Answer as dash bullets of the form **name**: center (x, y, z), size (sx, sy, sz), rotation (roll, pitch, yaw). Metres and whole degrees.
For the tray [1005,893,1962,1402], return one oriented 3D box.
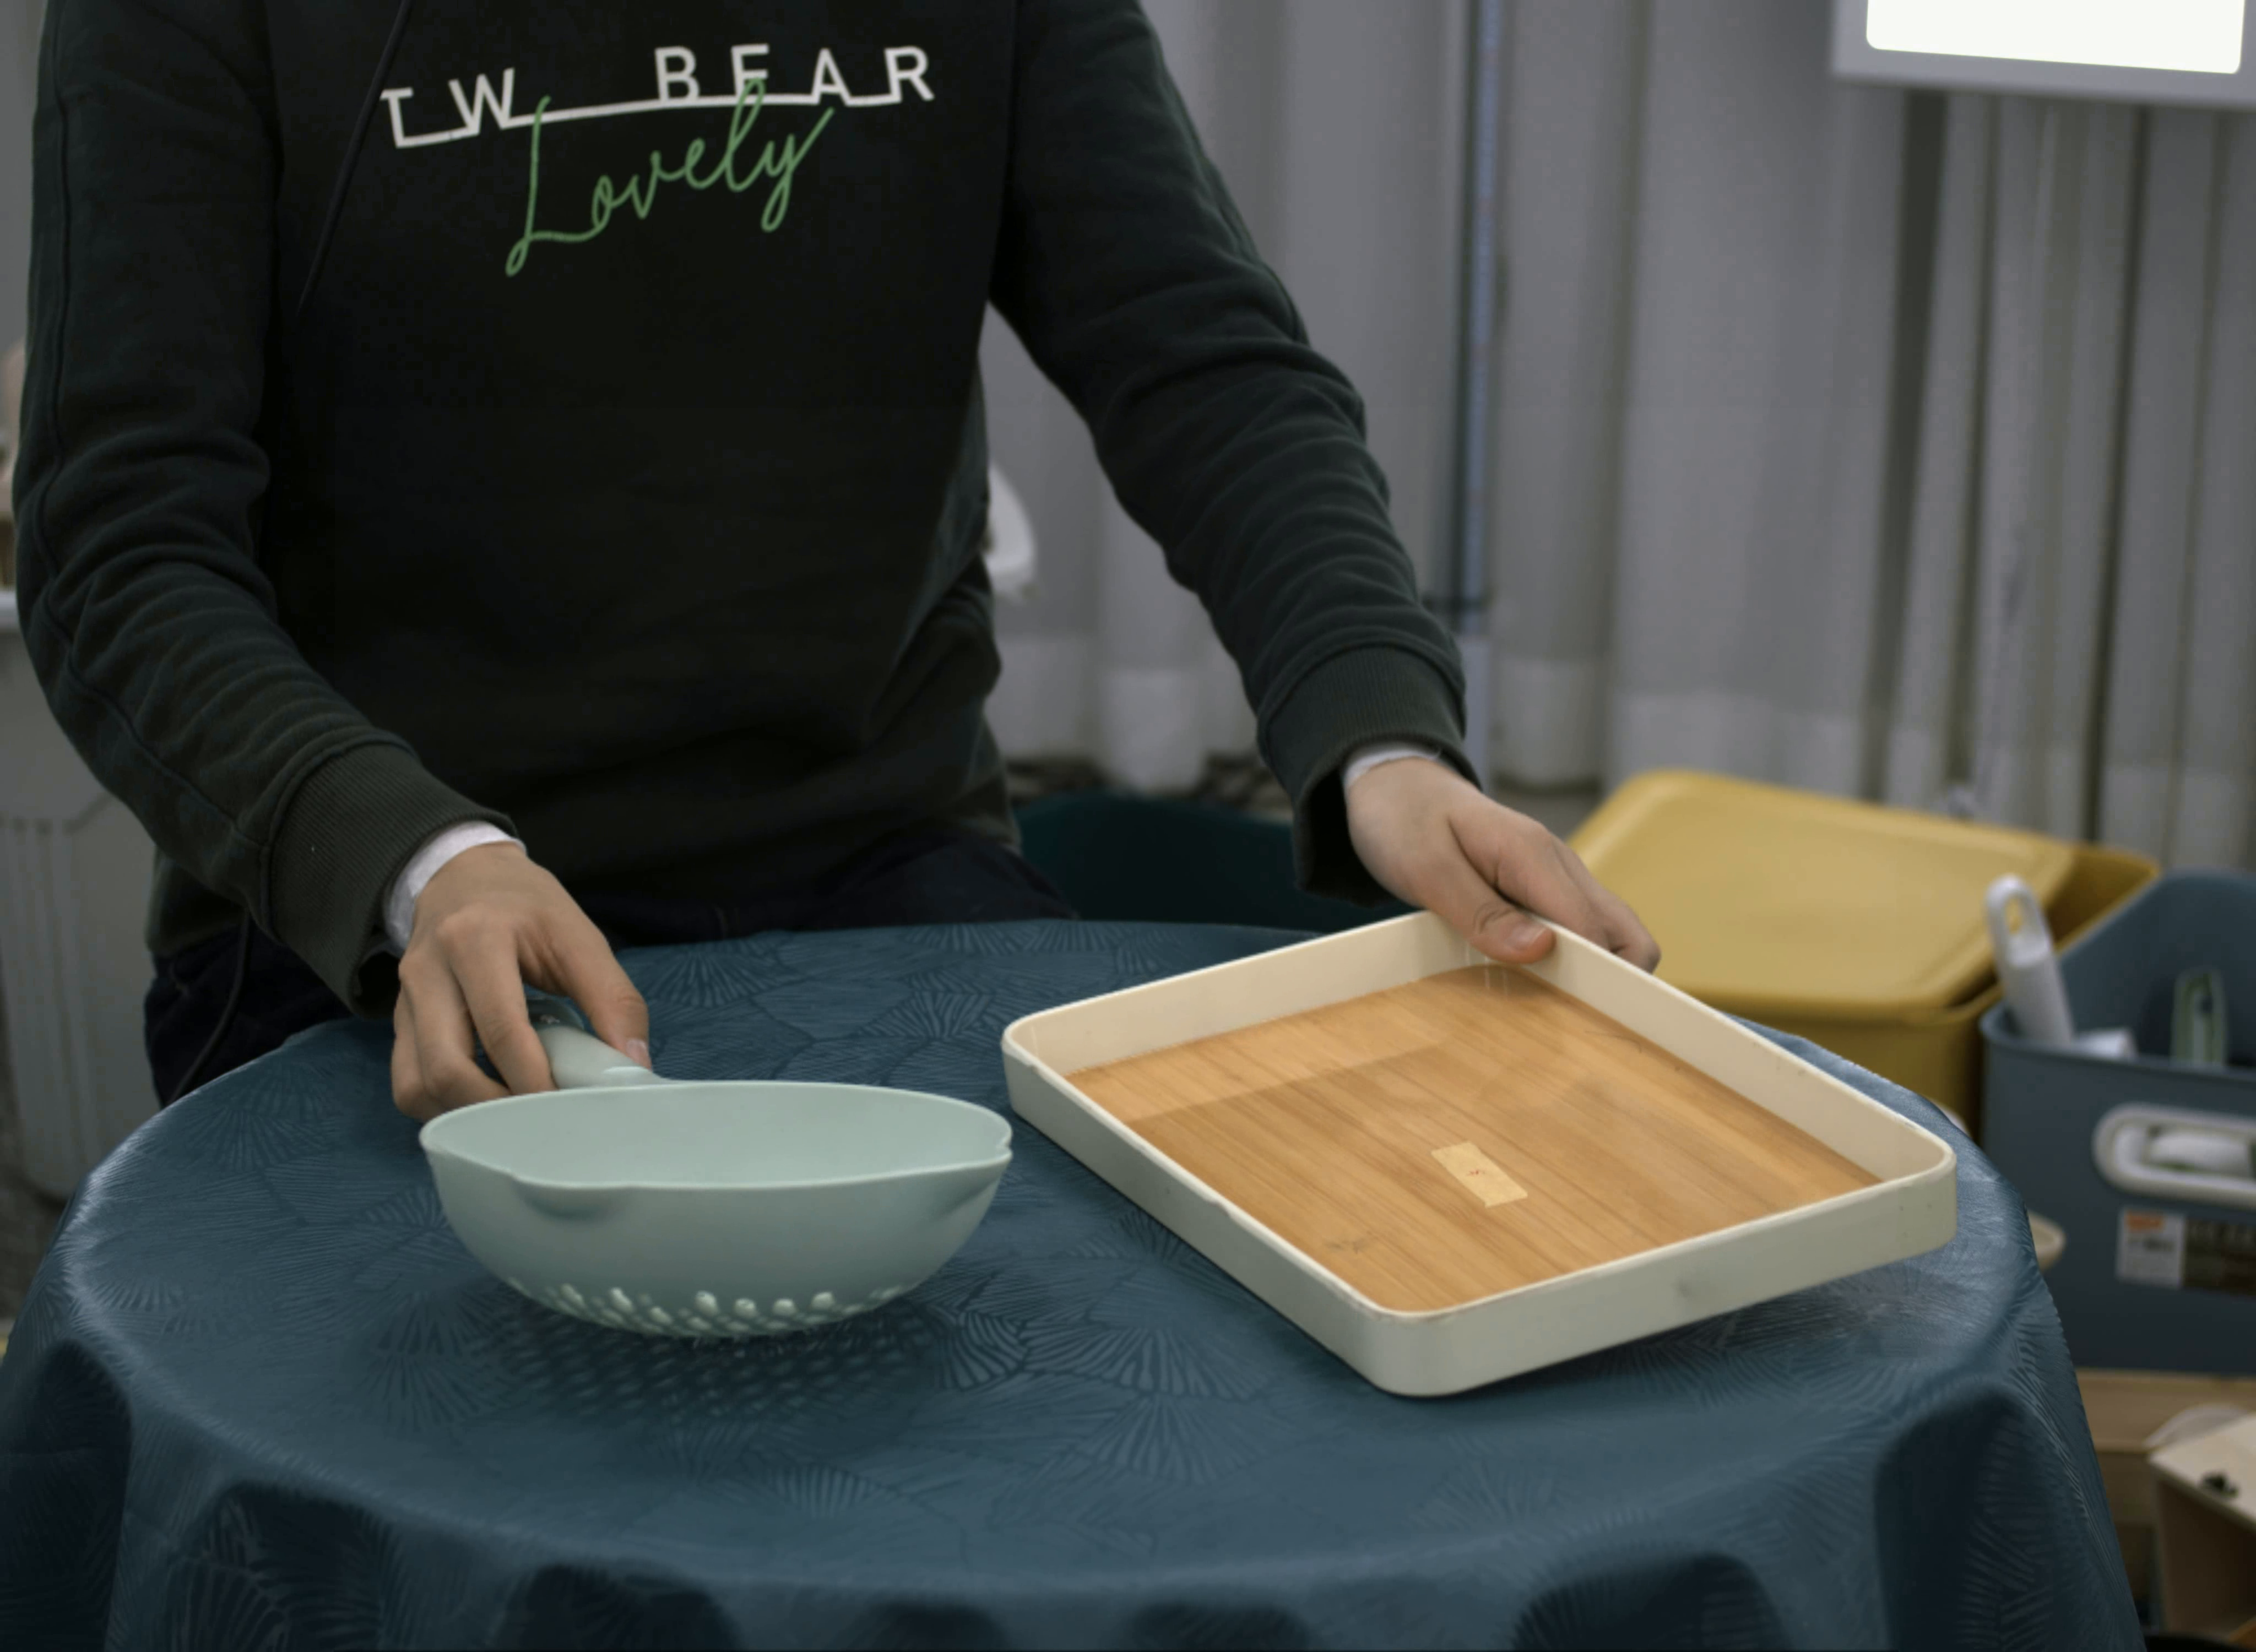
- **tray**: center (0.101, 0.092, 1.611), size (0.192, 0.027, 0.296), rotation (-14, 21, -21)

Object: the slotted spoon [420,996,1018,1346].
- **slotted spoon**: center (-0.148, 0.088, 1.589), size (0.170, 0.076, 0.355), rotation (-1, 16, -19)
